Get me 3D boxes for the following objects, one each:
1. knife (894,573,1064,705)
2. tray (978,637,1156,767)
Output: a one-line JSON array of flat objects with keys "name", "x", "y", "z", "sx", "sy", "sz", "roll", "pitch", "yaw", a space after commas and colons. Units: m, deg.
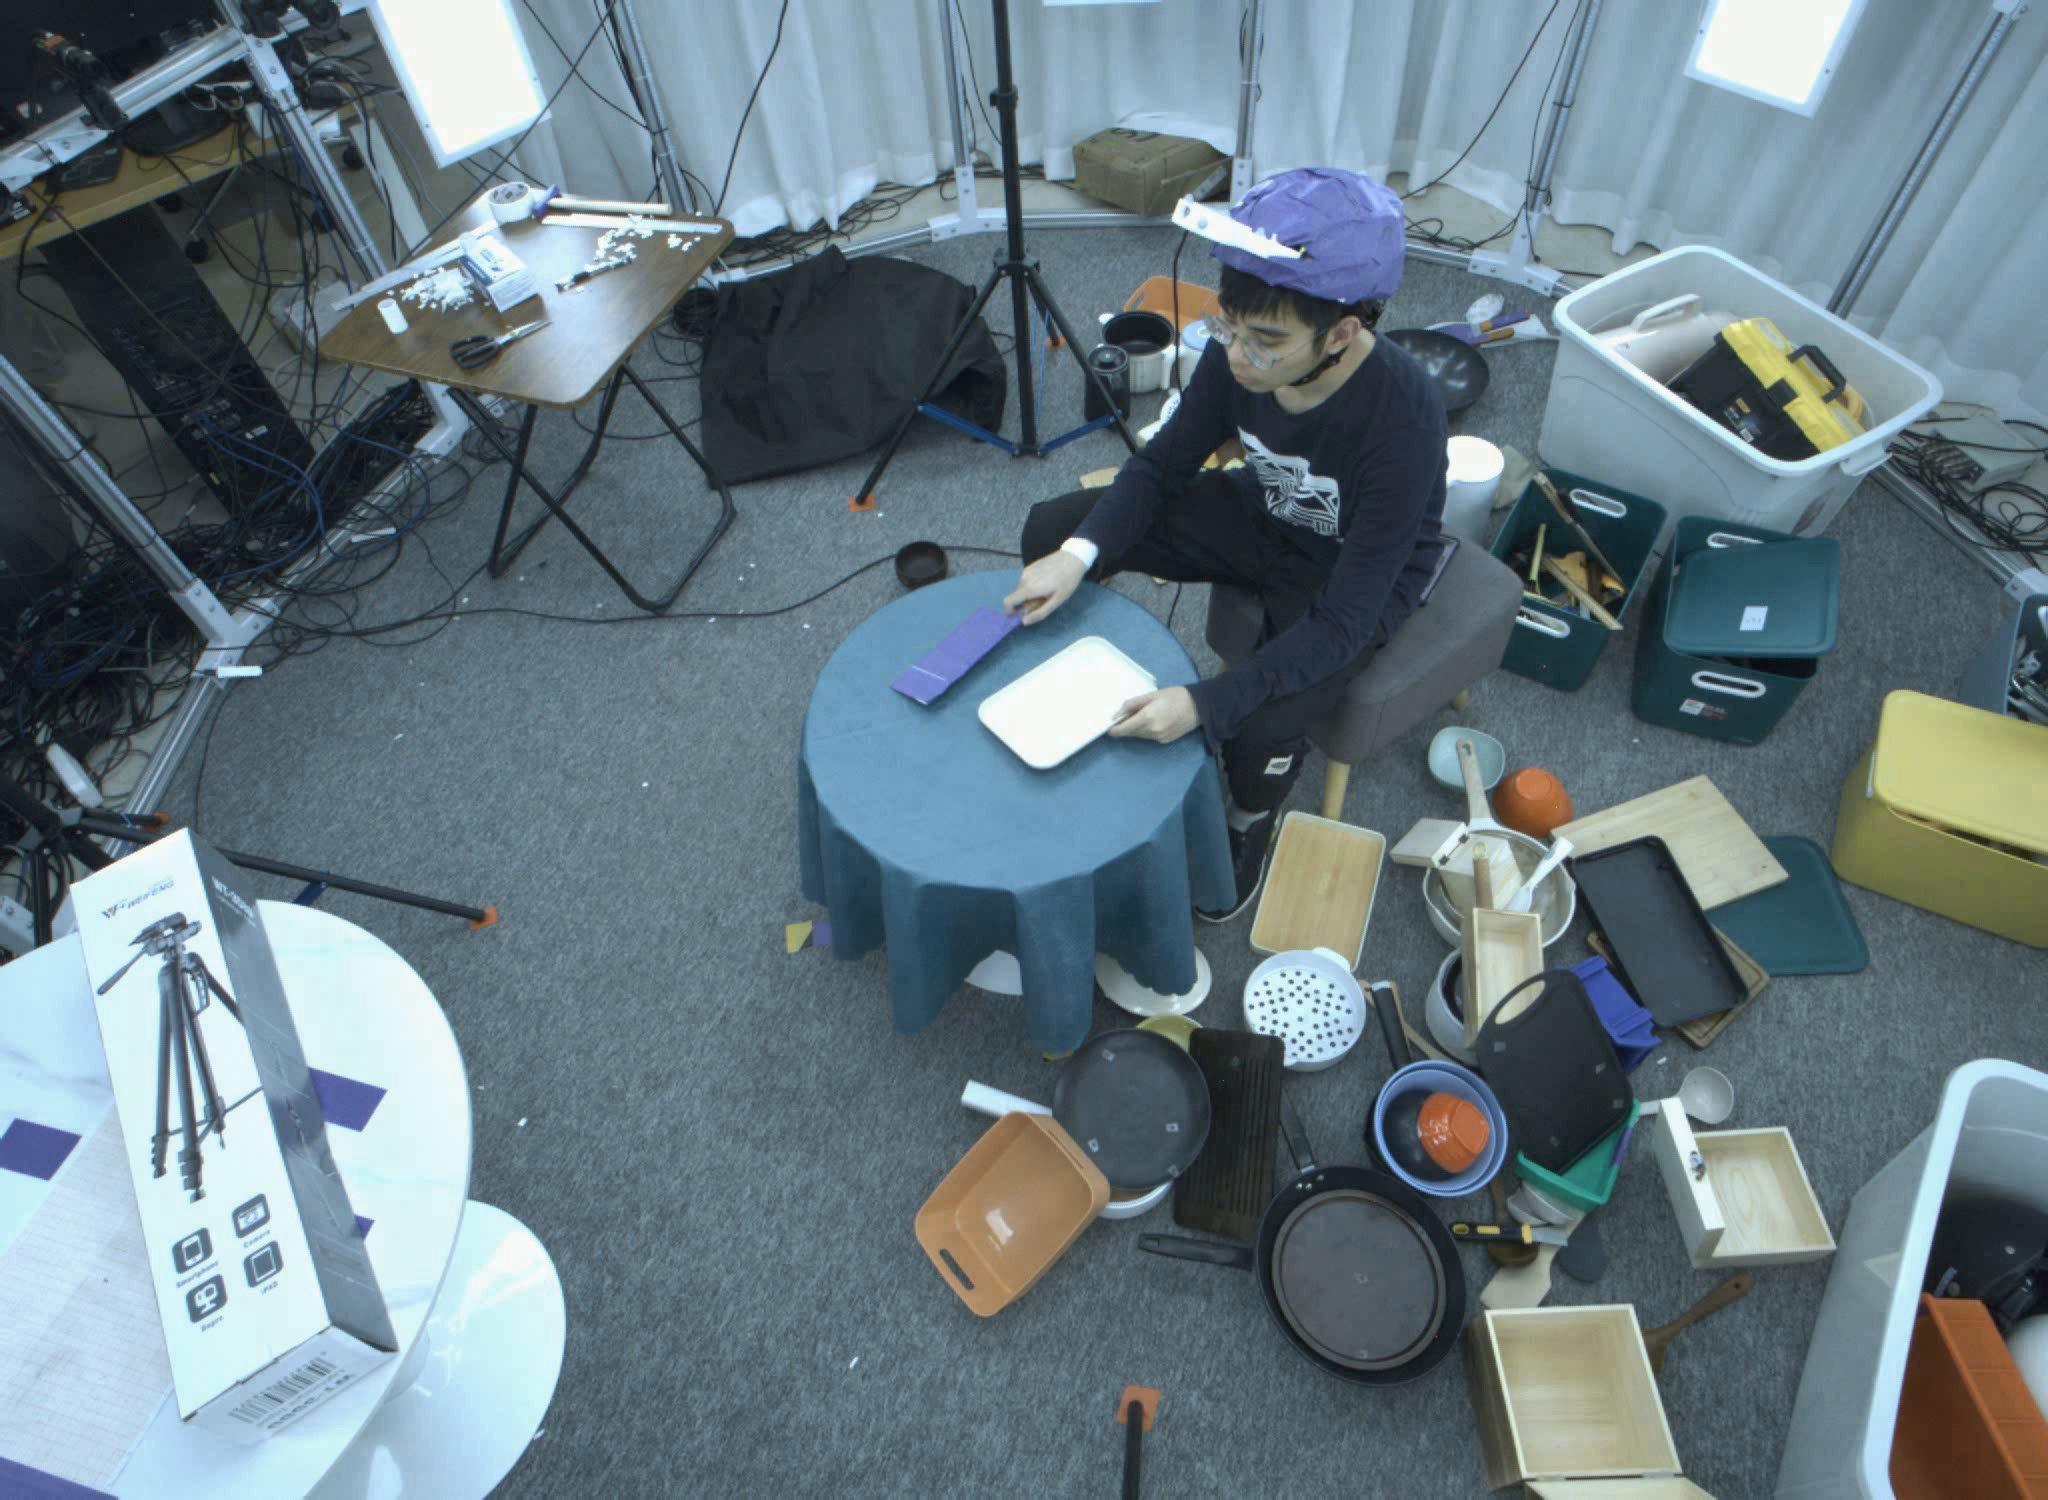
[{"name": "knife", "x": -0.072, "y": -0.183, "z": 1.901, "sx": 0.101, "sy": 0.033, "sz": 0.317, "roll": 27, "pitch": 58, "yaw": 36}, {"name": "tray", "x": 0.064, "y": -0.072, "z": 1.825, "sx": 0.241, "sy": 0.018, "sz": 0.167, "roll": -33, "pitch": 53, "yaw": -20}]
